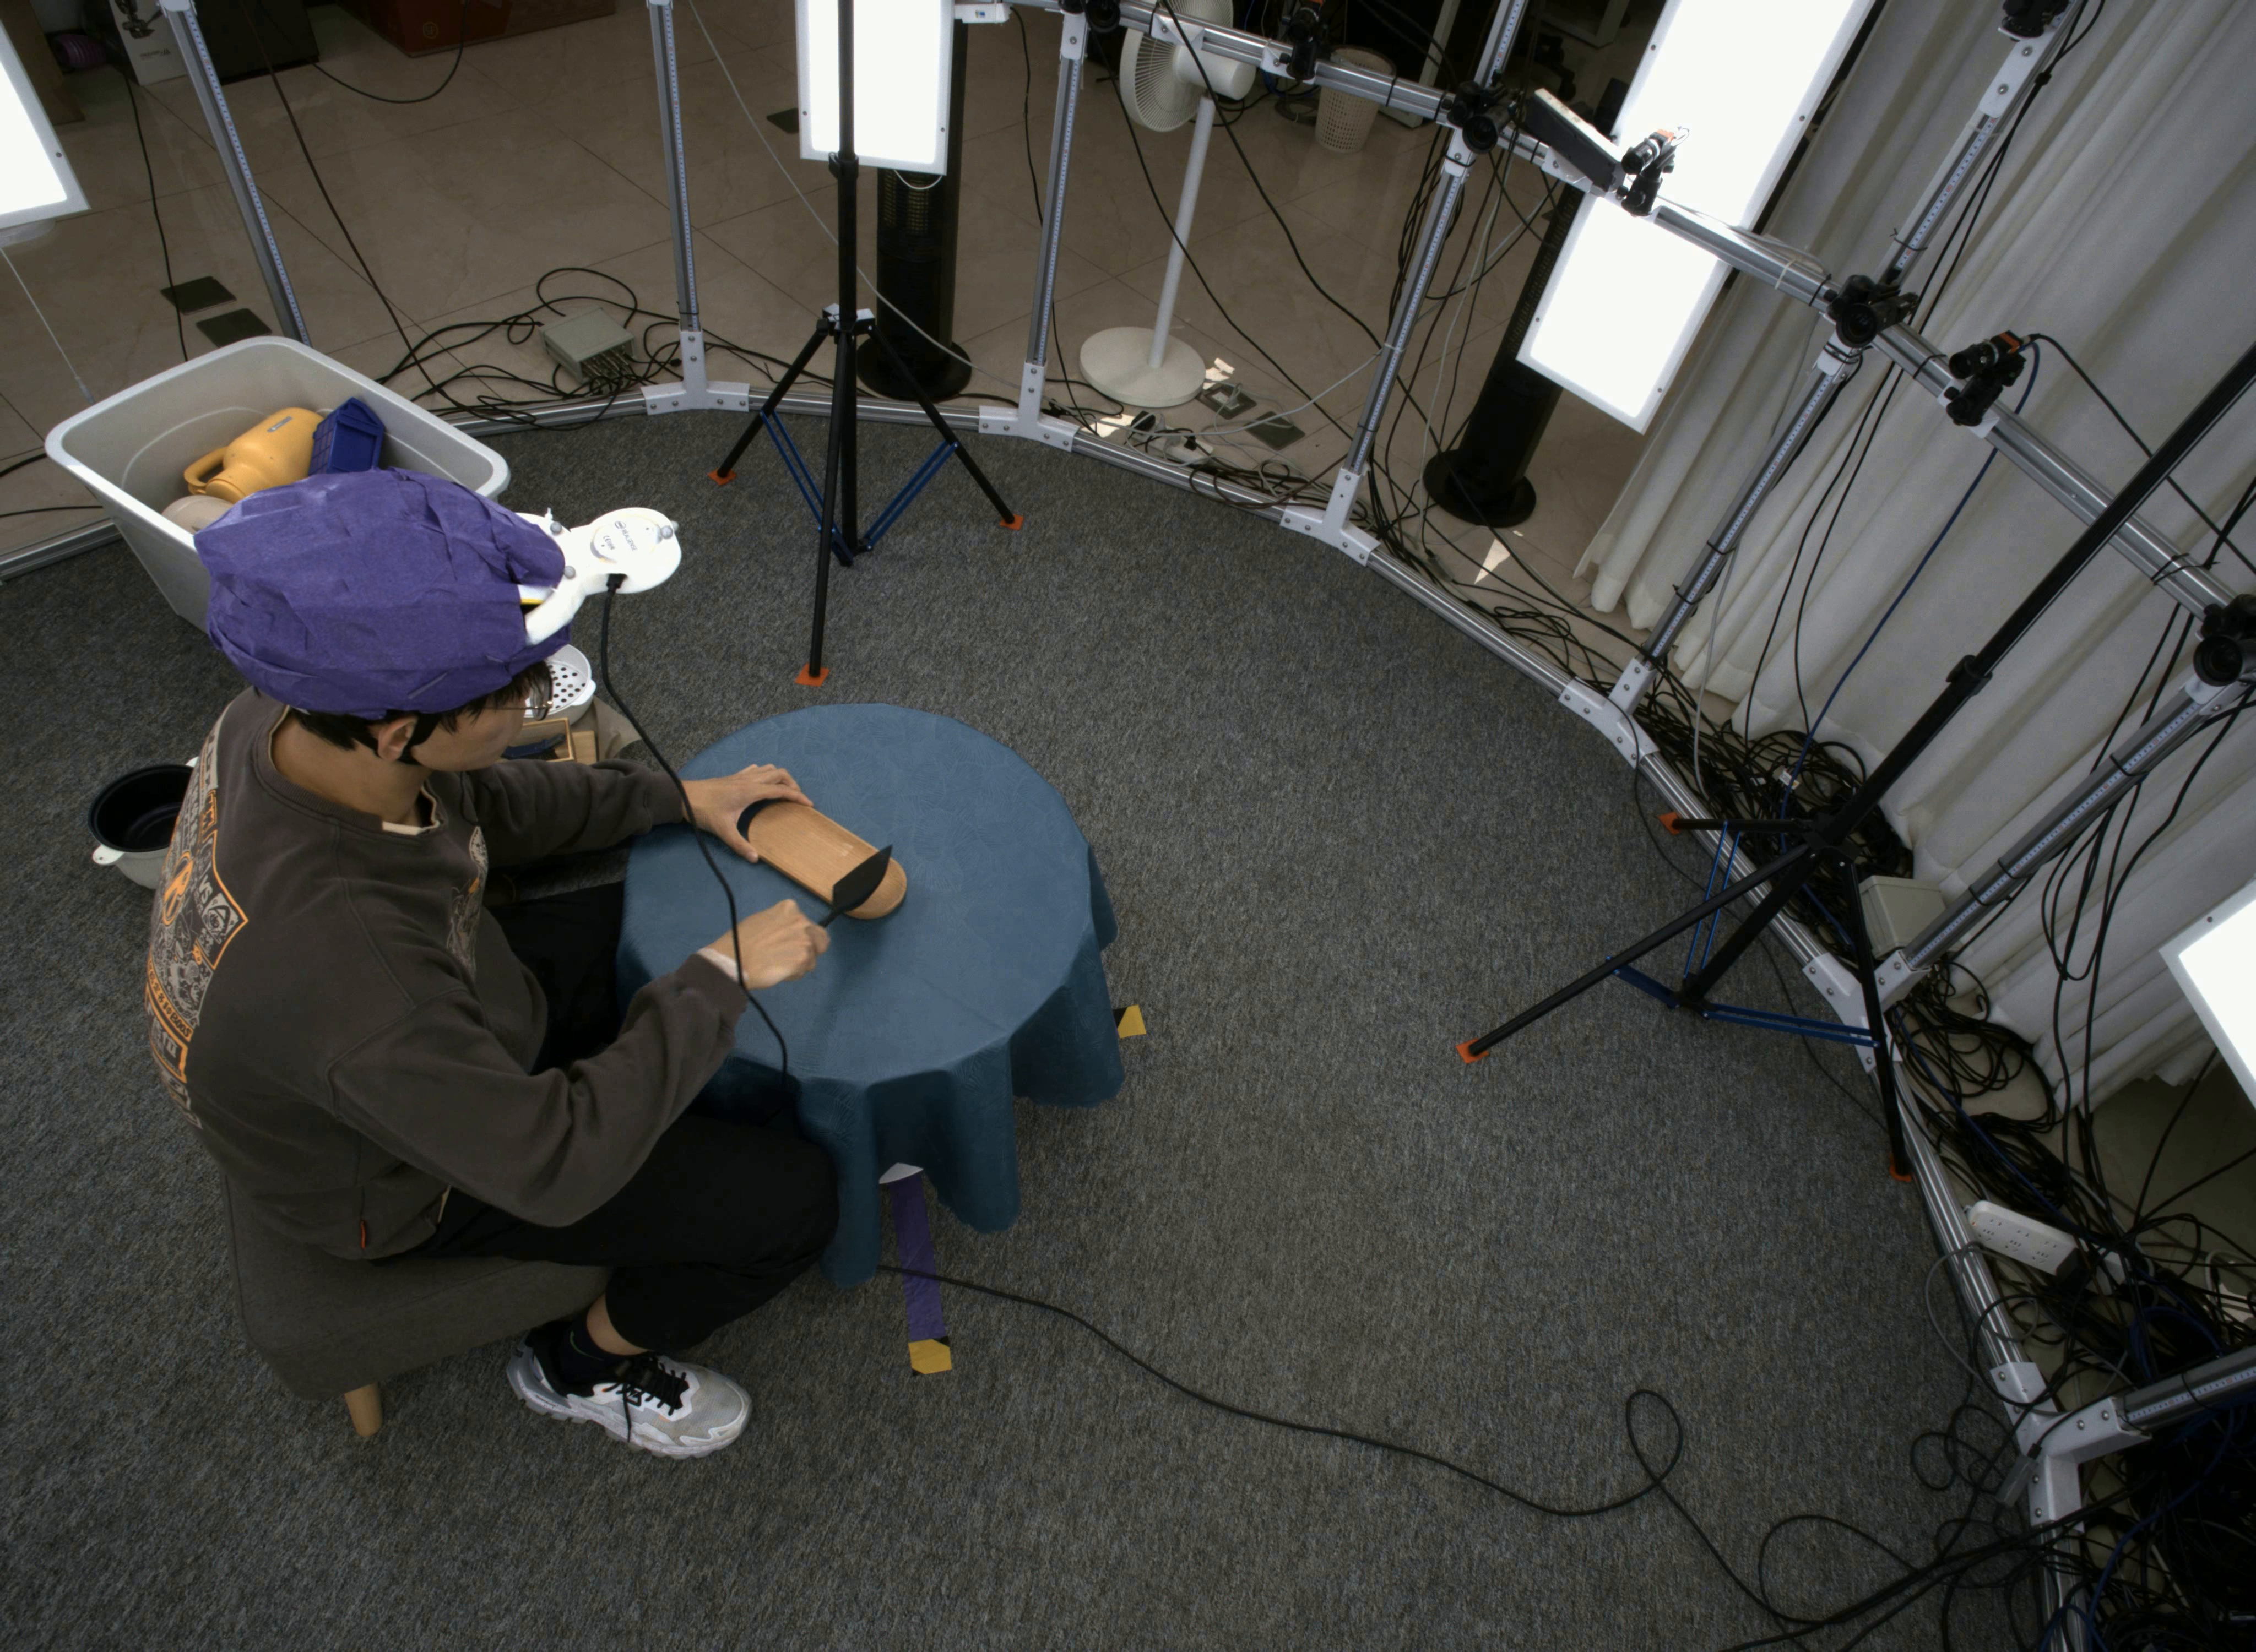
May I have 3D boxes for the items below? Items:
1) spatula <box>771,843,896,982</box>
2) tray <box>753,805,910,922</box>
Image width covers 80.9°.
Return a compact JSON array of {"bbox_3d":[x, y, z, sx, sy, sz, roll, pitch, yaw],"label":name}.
[{"bbox_3d":[-0.349,0.101,1.509,0.041,0.099,0.324,53,19,-7],"label":"spatula"},{"bbox_3d":[-0.390,0.047,1.703,0.227,0.021,0.101,32,55,9],"label":"tray"}]
